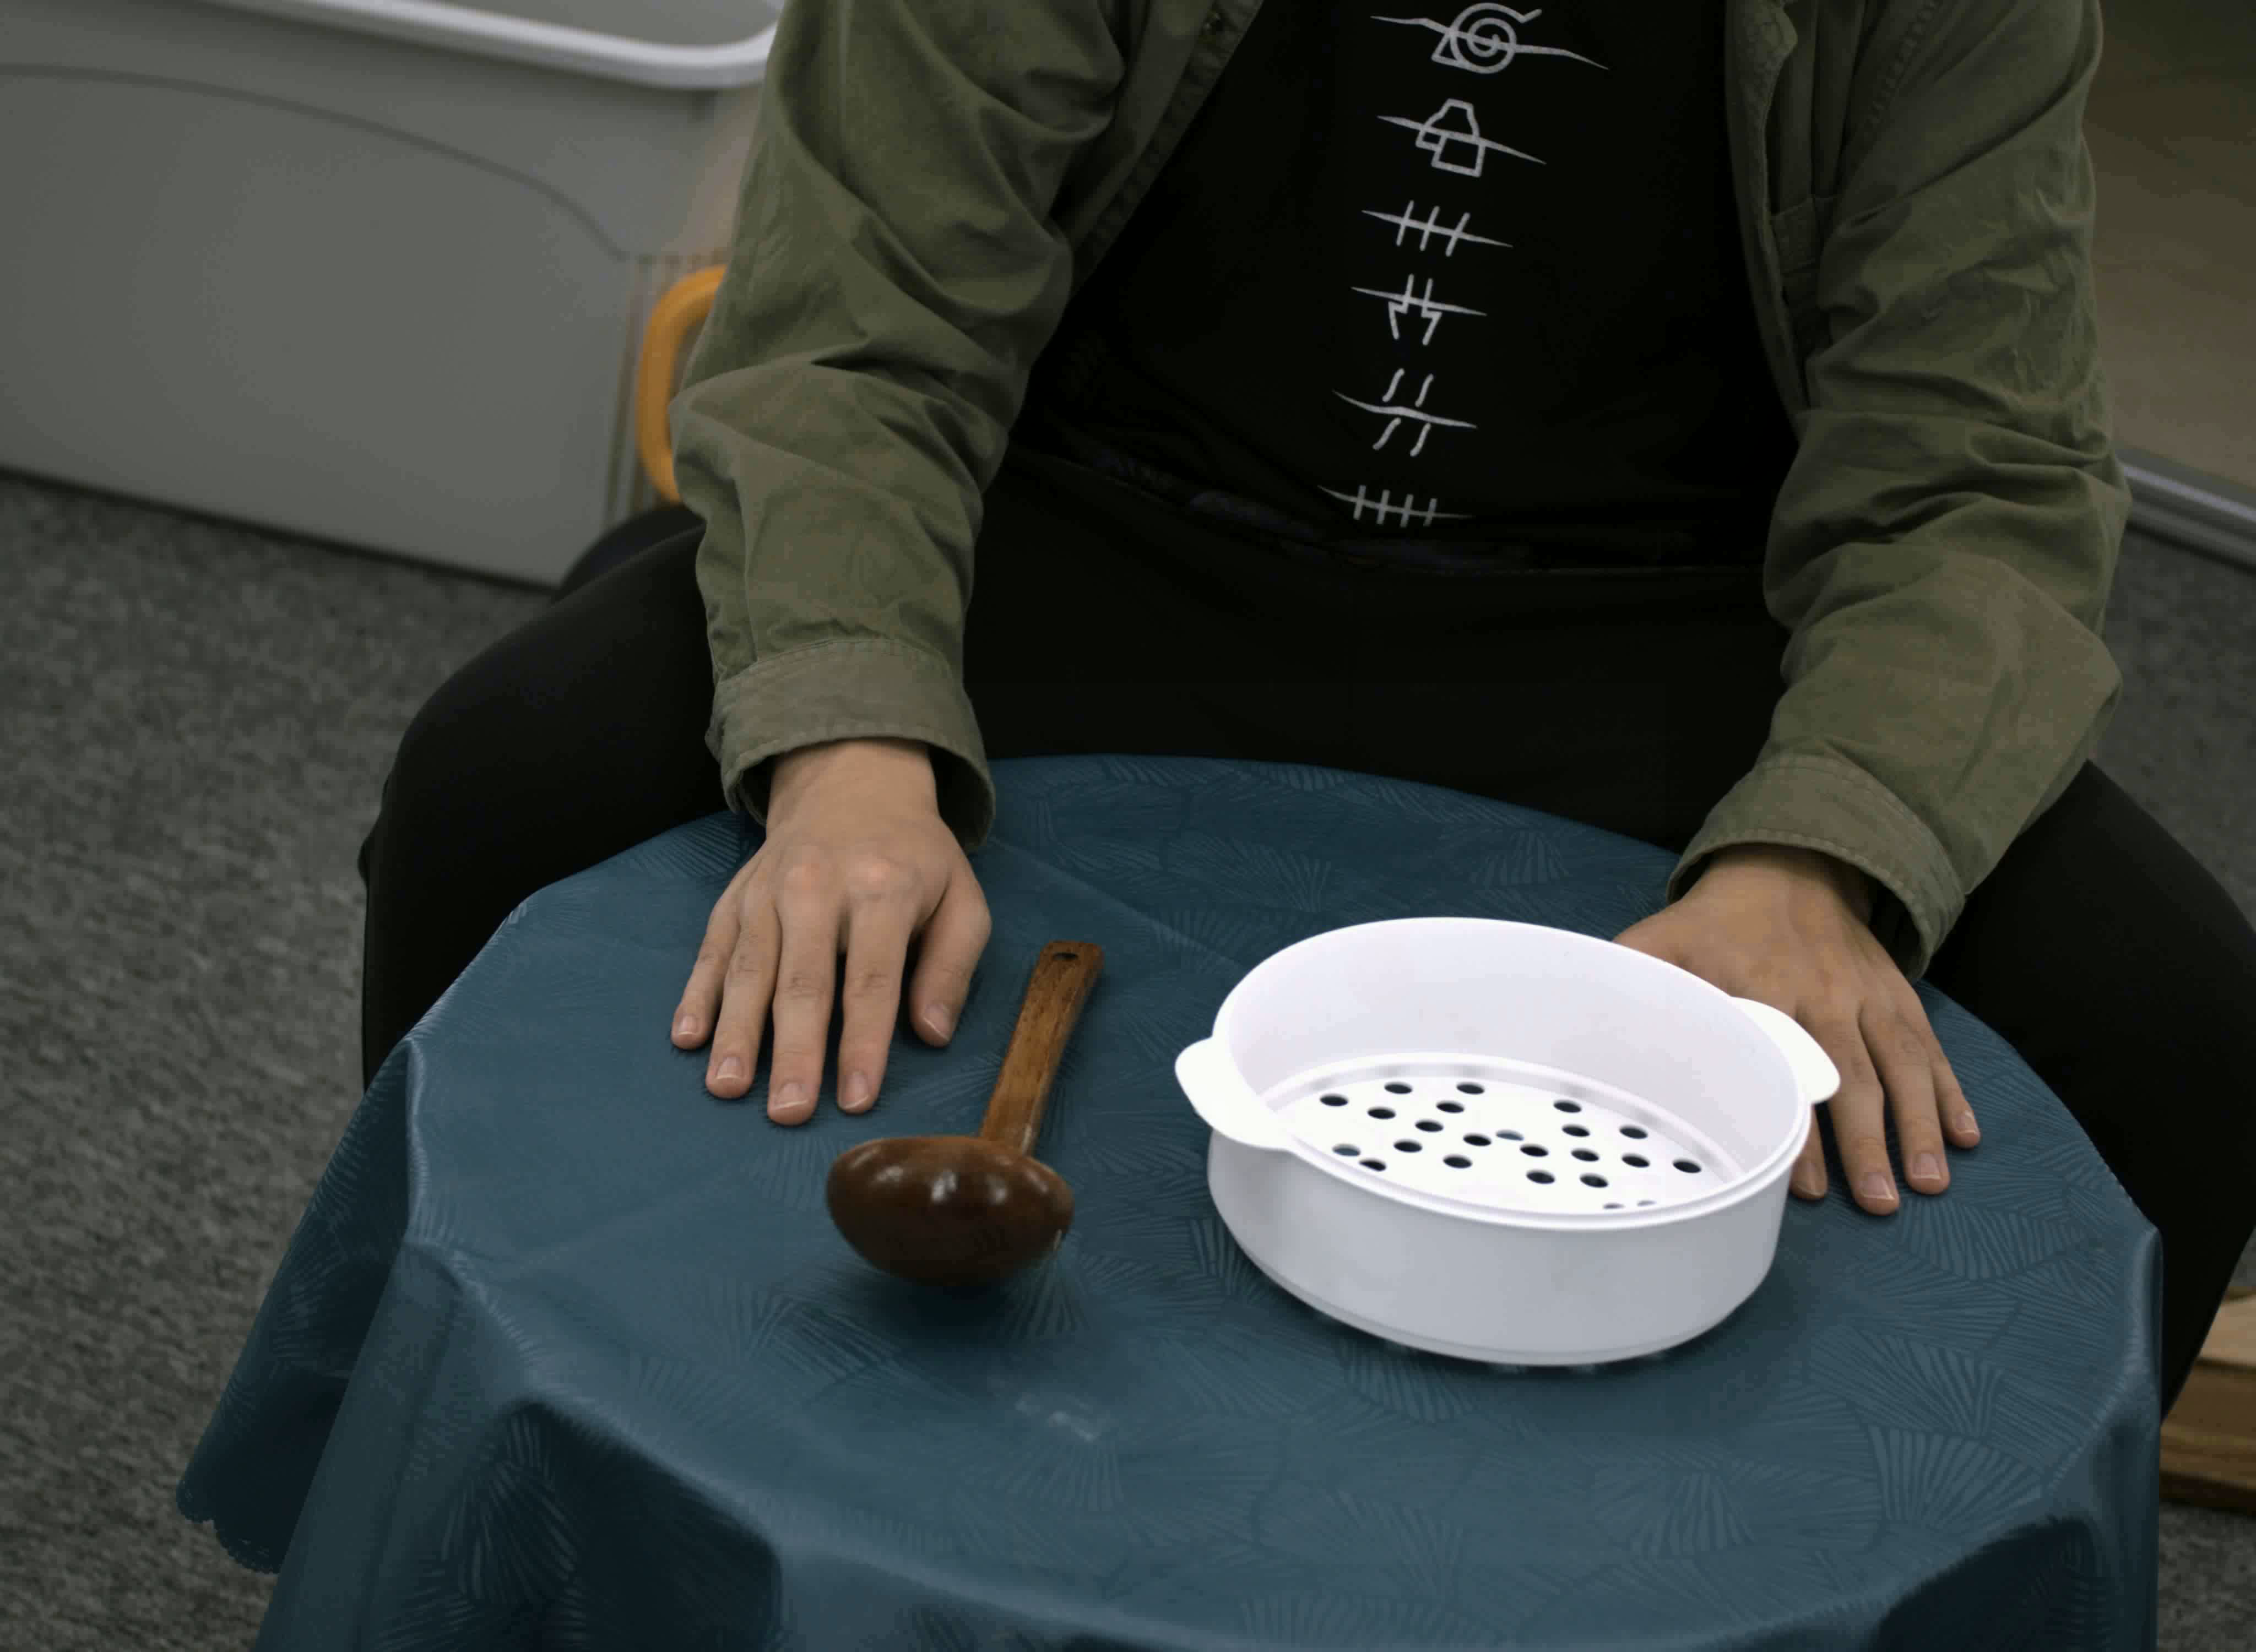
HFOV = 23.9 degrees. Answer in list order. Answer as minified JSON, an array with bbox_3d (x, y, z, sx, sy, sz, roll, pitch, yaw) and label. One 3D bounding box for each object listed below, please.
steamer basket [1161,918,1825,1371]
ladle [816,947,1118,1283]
[{"bbox_3d":[0.119,0.107,1.784,0.229,0.069,0.203,-2,28,-20],"label":"steamer basket"},{"bbox_3d":[-0.042,0.076,1.800,0.082,0.076,0.275,6,26,8],"label":"ladle"}]
